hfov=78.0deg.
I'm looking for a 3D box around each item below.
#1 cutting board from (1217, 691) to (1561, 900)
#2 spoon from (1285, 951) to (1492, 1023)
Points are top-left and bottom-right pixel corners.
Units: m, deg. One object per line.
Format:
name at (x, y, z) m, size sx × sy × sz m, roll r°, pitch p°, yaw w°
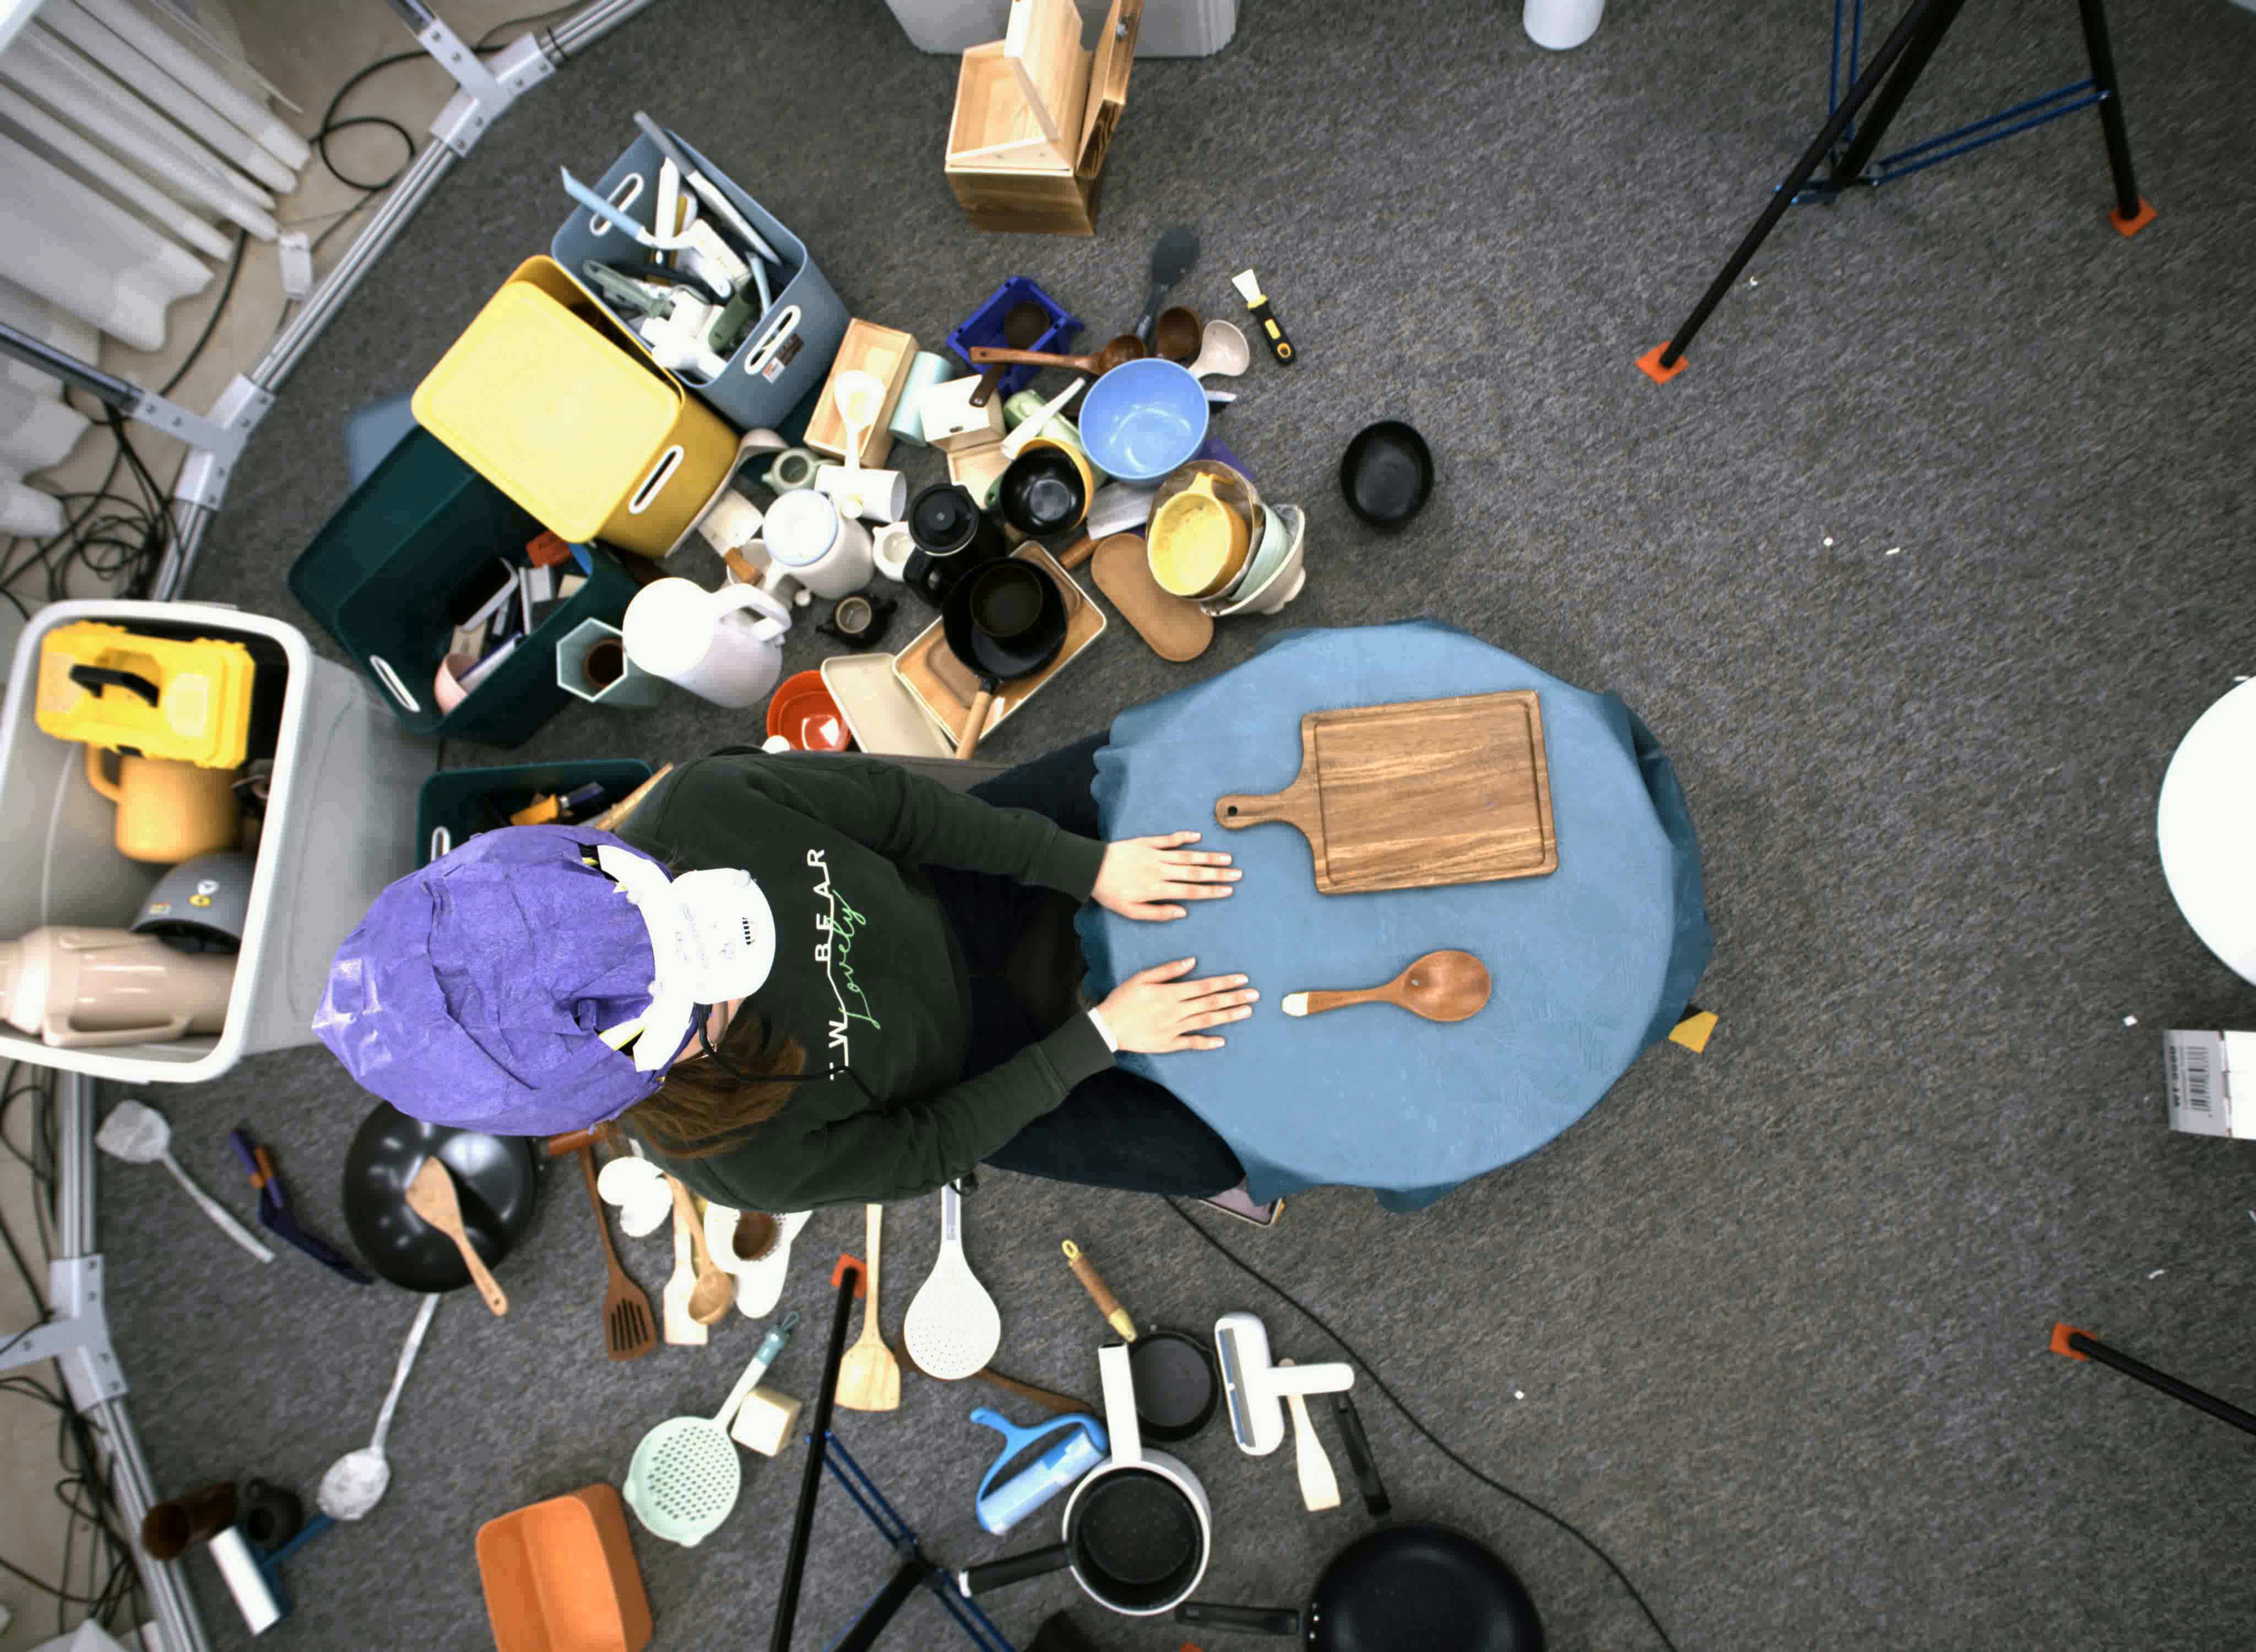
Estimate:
cutting board at (0.269, -0.028, 1.463) m, size 0.354 × 0.023 × 0.200 m, roll -6°, pitch 86°, yaw 10°
spoon at (0.271, 0.175, 1.448) m, size 0.217 × 0.017 × 0.075 m, roll -8°, pitch 86°, yaw 9°
